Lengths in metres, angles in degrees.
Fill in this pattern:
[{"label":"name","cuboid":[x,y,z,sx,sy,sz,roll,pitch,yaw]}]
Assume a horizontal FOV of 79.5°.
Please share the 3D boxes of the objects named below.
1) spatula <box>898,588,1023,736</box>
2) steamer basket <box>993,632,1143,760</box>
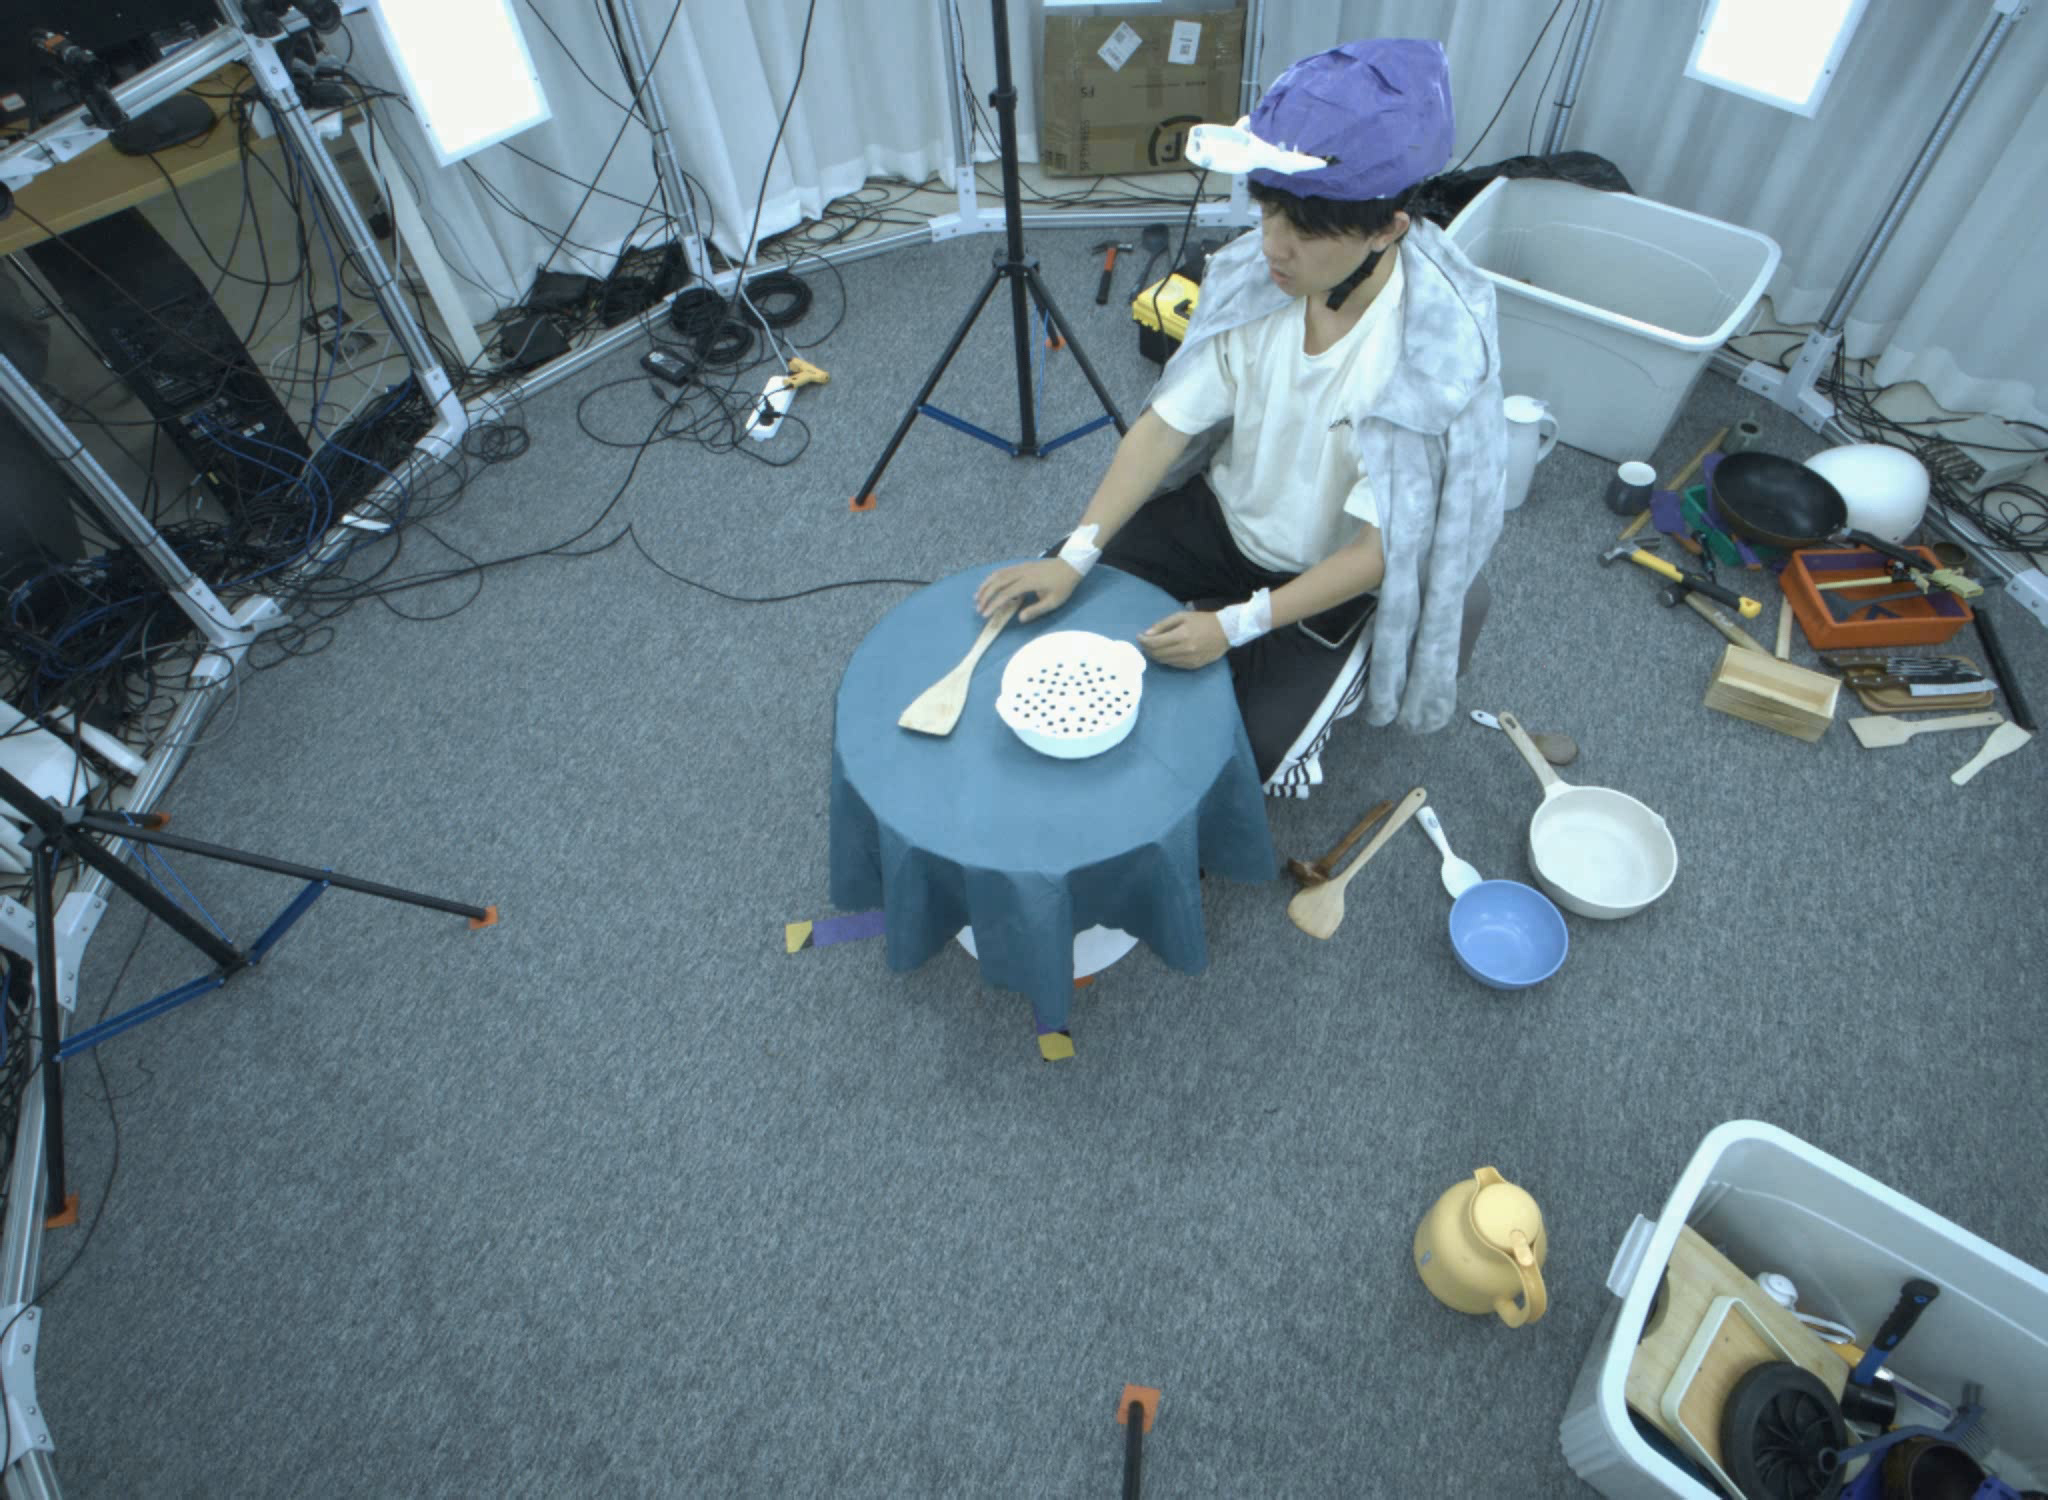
[{"label":"spatula","cuboid":[-0.081,-0.140,1.881,0.079,0.017,0.328,22,58,16]},{"label":"steamer basket","cuboid":[0.065,-0.077,1.801,0.232,0.070,0.198,-26,59,-16]}]
